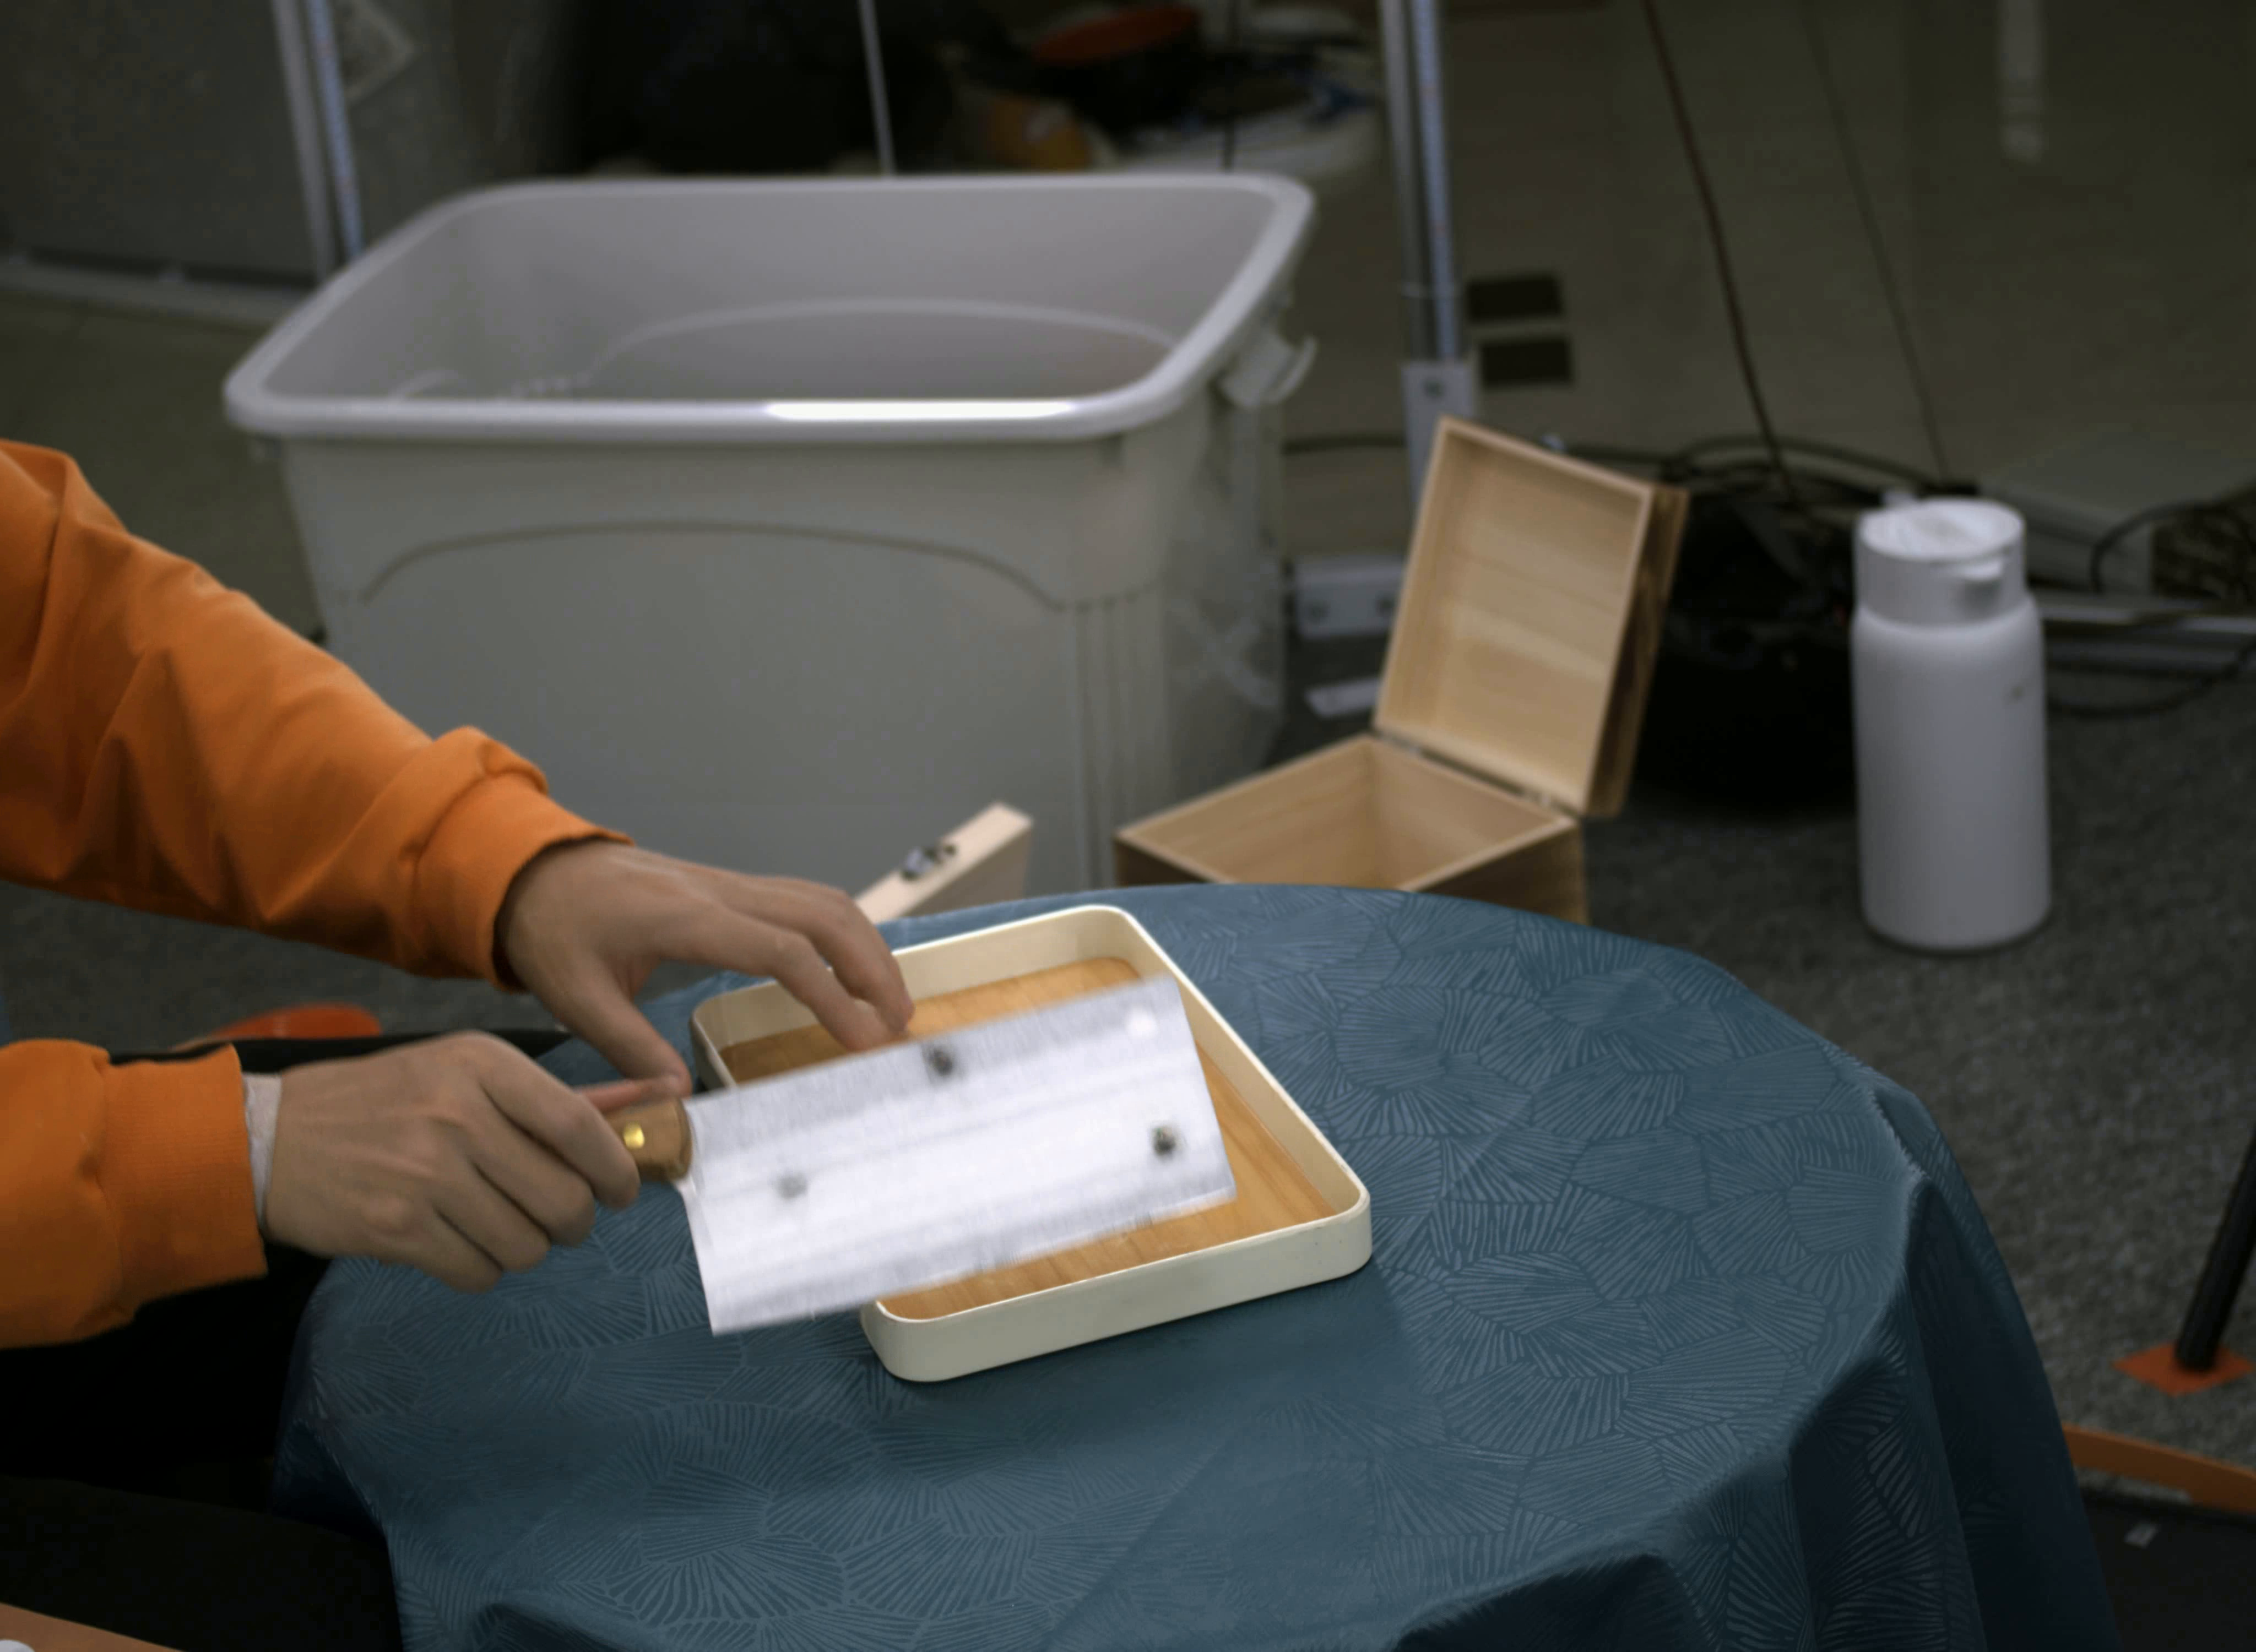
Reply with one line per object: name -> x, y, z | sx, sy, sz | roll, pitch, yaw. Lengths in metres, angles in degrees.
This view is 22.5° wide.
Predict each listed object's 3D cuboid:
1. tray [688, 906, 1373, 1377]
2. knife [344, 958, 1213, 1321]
tray -> -0.042, 0.116, 2.173 | 0.191, 0.028, 0.296 | -13, 26, -15
knife -> -0.121, 0.123, 1.997 | 0.305, 0.021, 0.092 | -15, 66, -2
